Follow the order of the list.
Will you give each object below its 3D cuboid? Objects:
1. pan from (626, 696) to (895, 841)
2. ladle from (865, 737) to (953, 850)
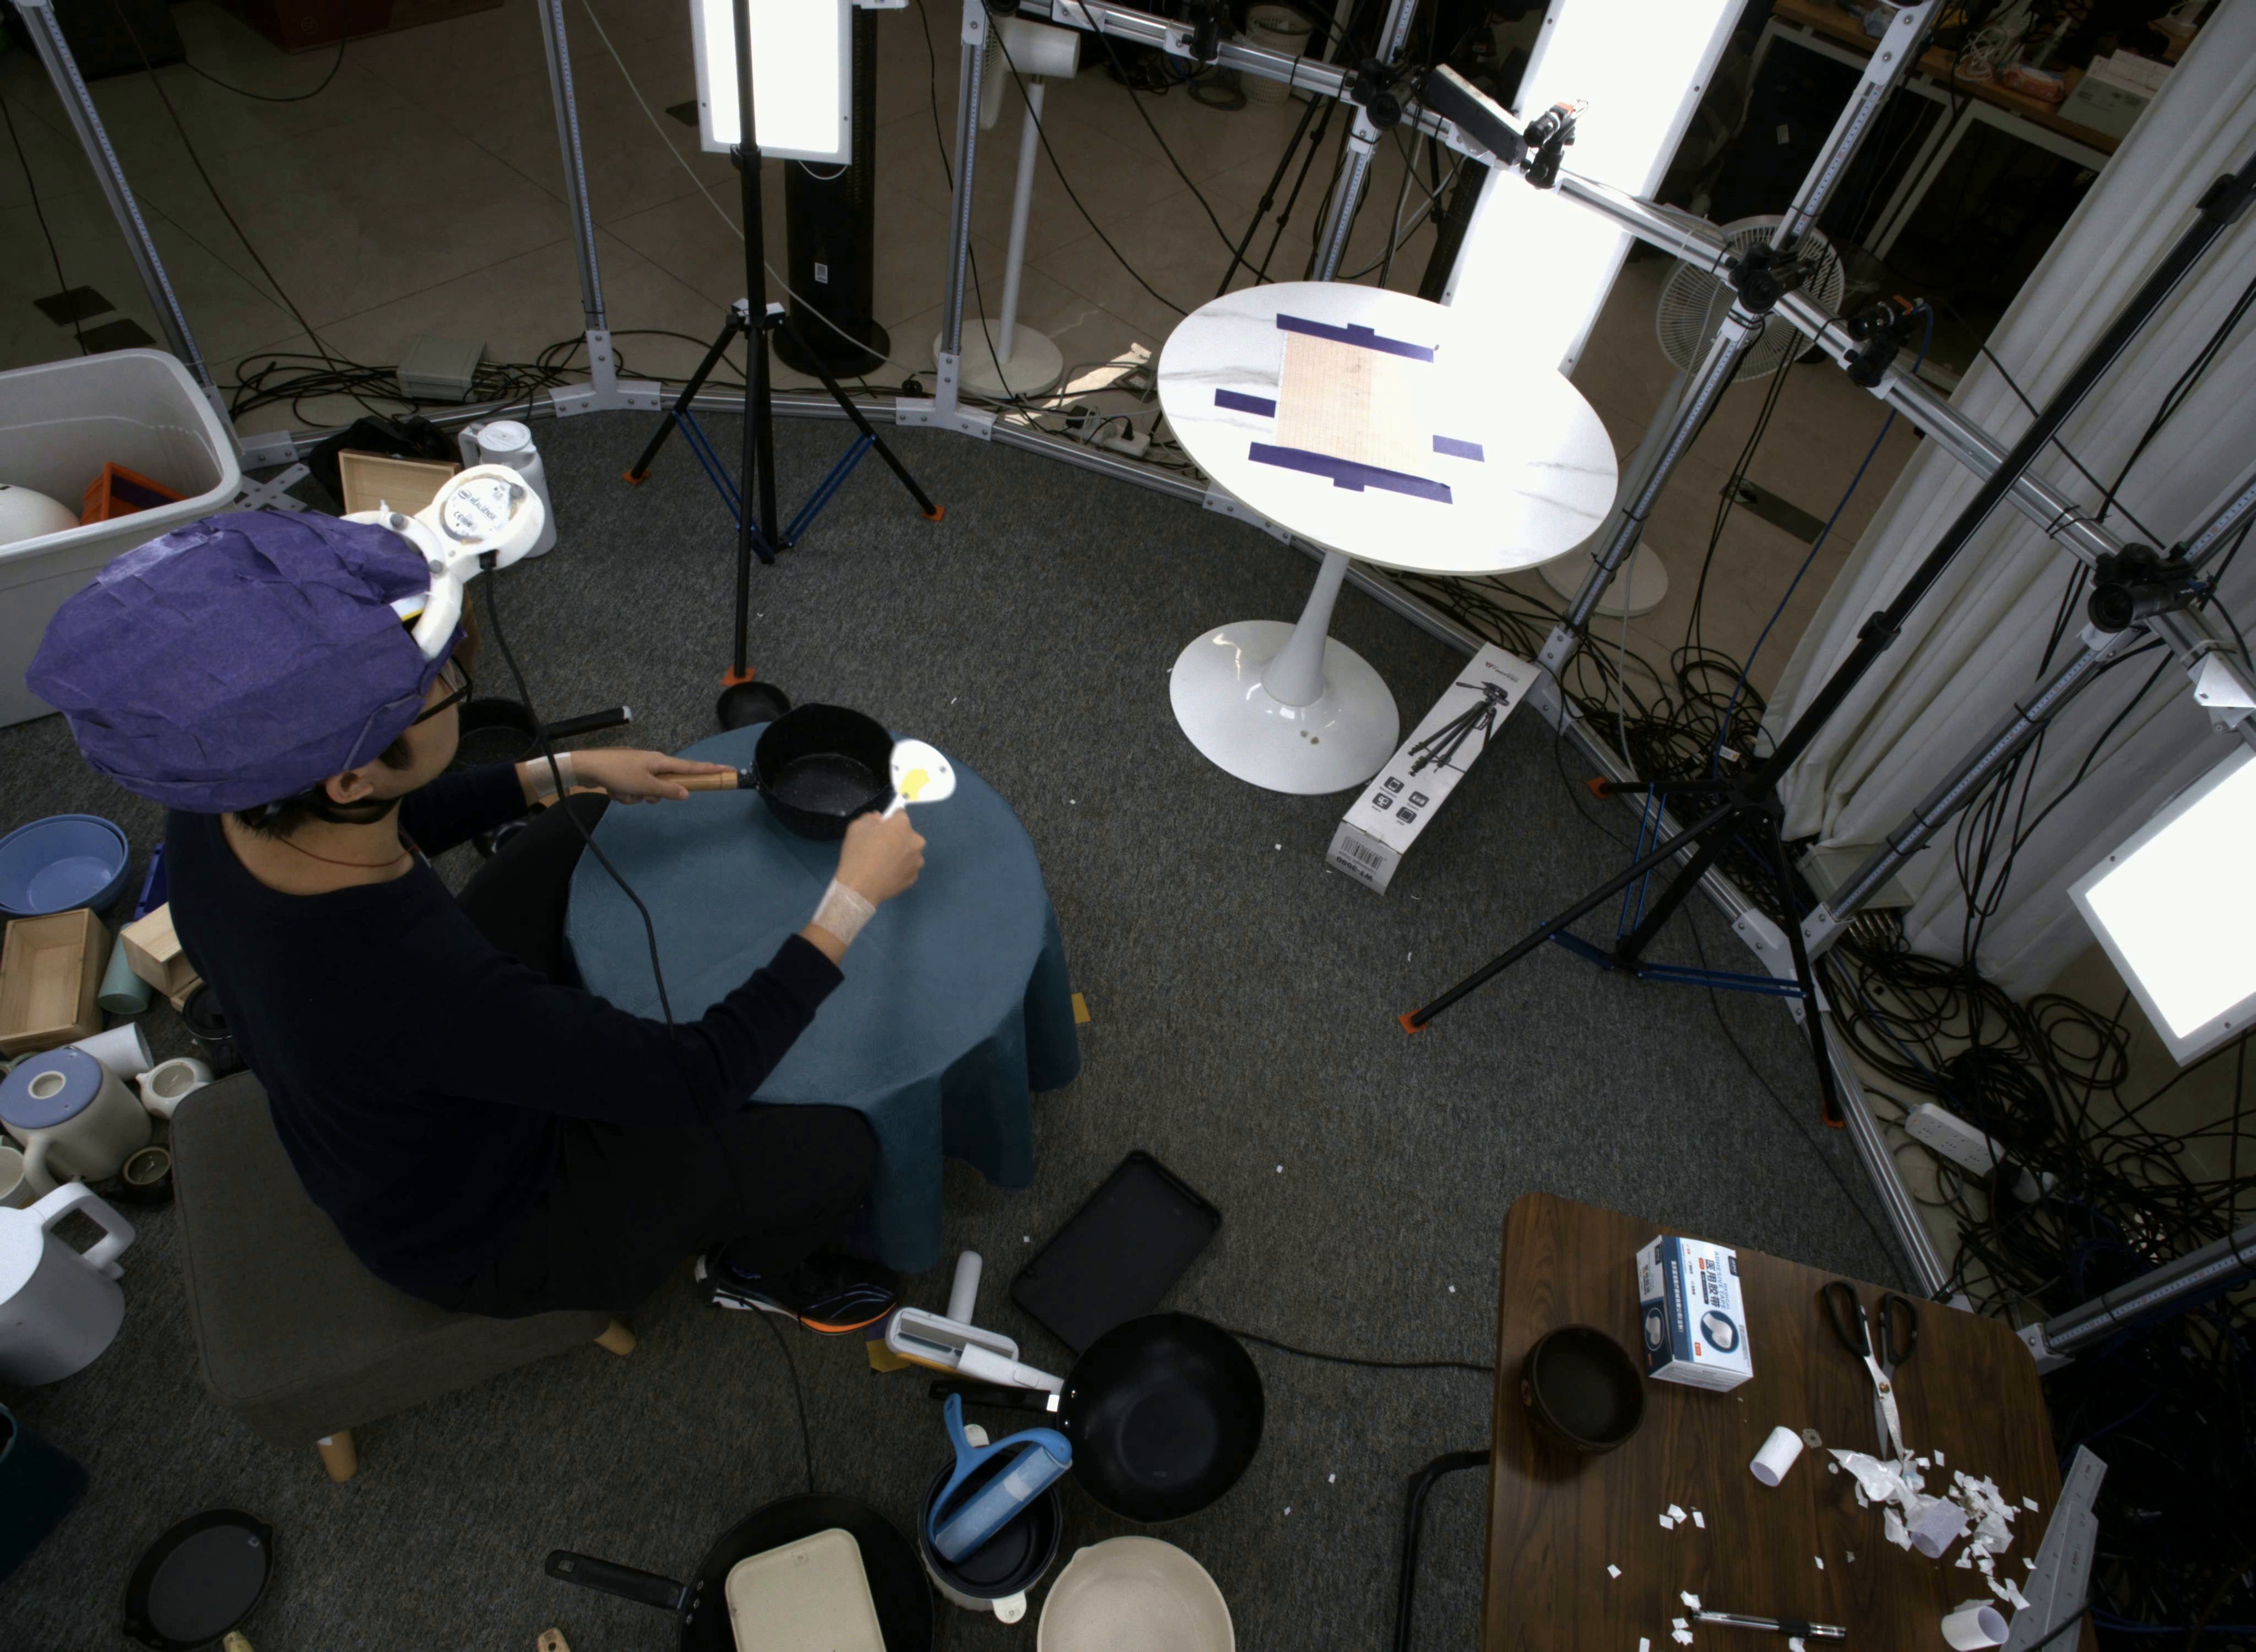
[{"bbox_3d":[-0.472,-0.058,1.674,0.345,0.110,0.202,-12,58,-25],"label":"pan"},{"bbox_3d":[-0.260,-0.038,1.535,0.092,0.070,0.288,49,8,-13],"label":"ladle"}]
